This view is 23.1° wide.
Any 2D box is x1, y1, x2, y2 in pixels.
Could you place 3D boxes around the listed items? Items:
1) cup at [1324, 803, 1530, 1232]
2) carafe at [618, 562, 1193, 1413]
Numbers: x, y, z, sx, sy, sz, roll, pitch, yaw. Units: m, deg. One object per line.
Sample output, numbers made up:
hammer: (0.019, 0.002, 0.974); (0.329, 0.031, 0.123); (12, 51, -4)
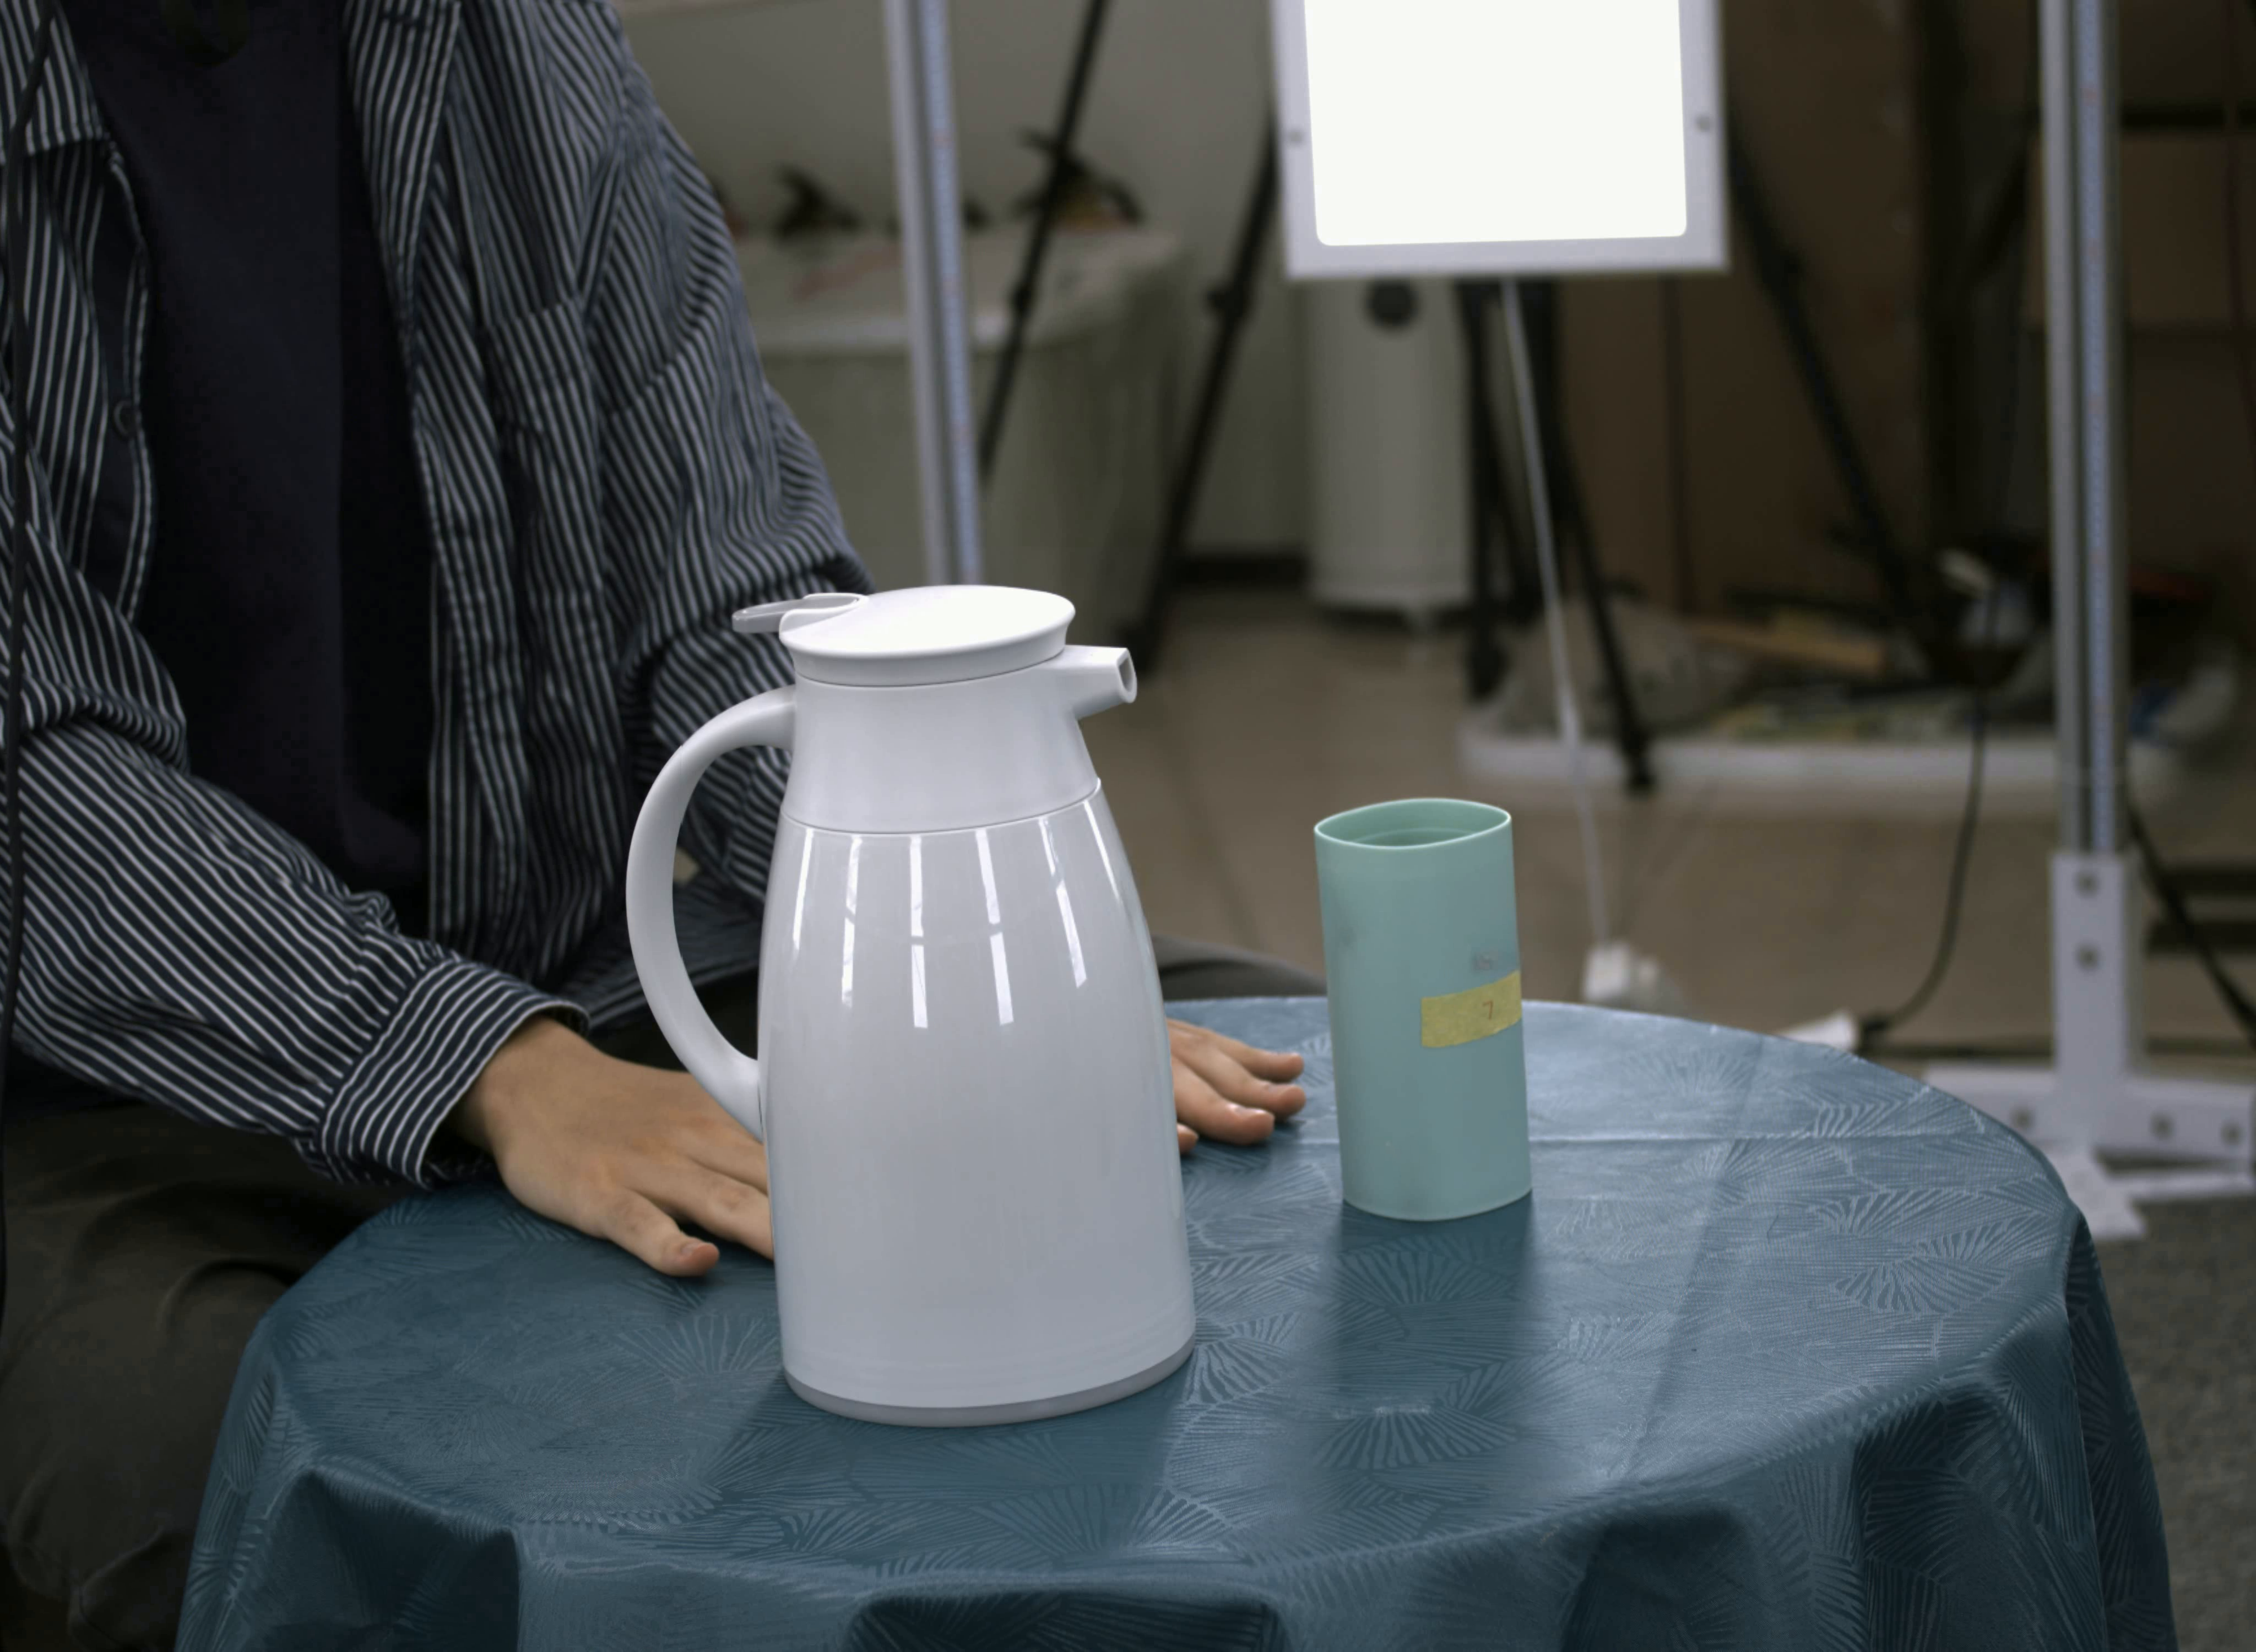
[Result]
cup: (0.101, 0.063, 1.847); (0.066, 0.133, 0.066); (-3, 15, -1)
carafe: (-0.073, 0.044, 1.714); (0.169, 0.249, 0.131); (-3, 14, 11)
